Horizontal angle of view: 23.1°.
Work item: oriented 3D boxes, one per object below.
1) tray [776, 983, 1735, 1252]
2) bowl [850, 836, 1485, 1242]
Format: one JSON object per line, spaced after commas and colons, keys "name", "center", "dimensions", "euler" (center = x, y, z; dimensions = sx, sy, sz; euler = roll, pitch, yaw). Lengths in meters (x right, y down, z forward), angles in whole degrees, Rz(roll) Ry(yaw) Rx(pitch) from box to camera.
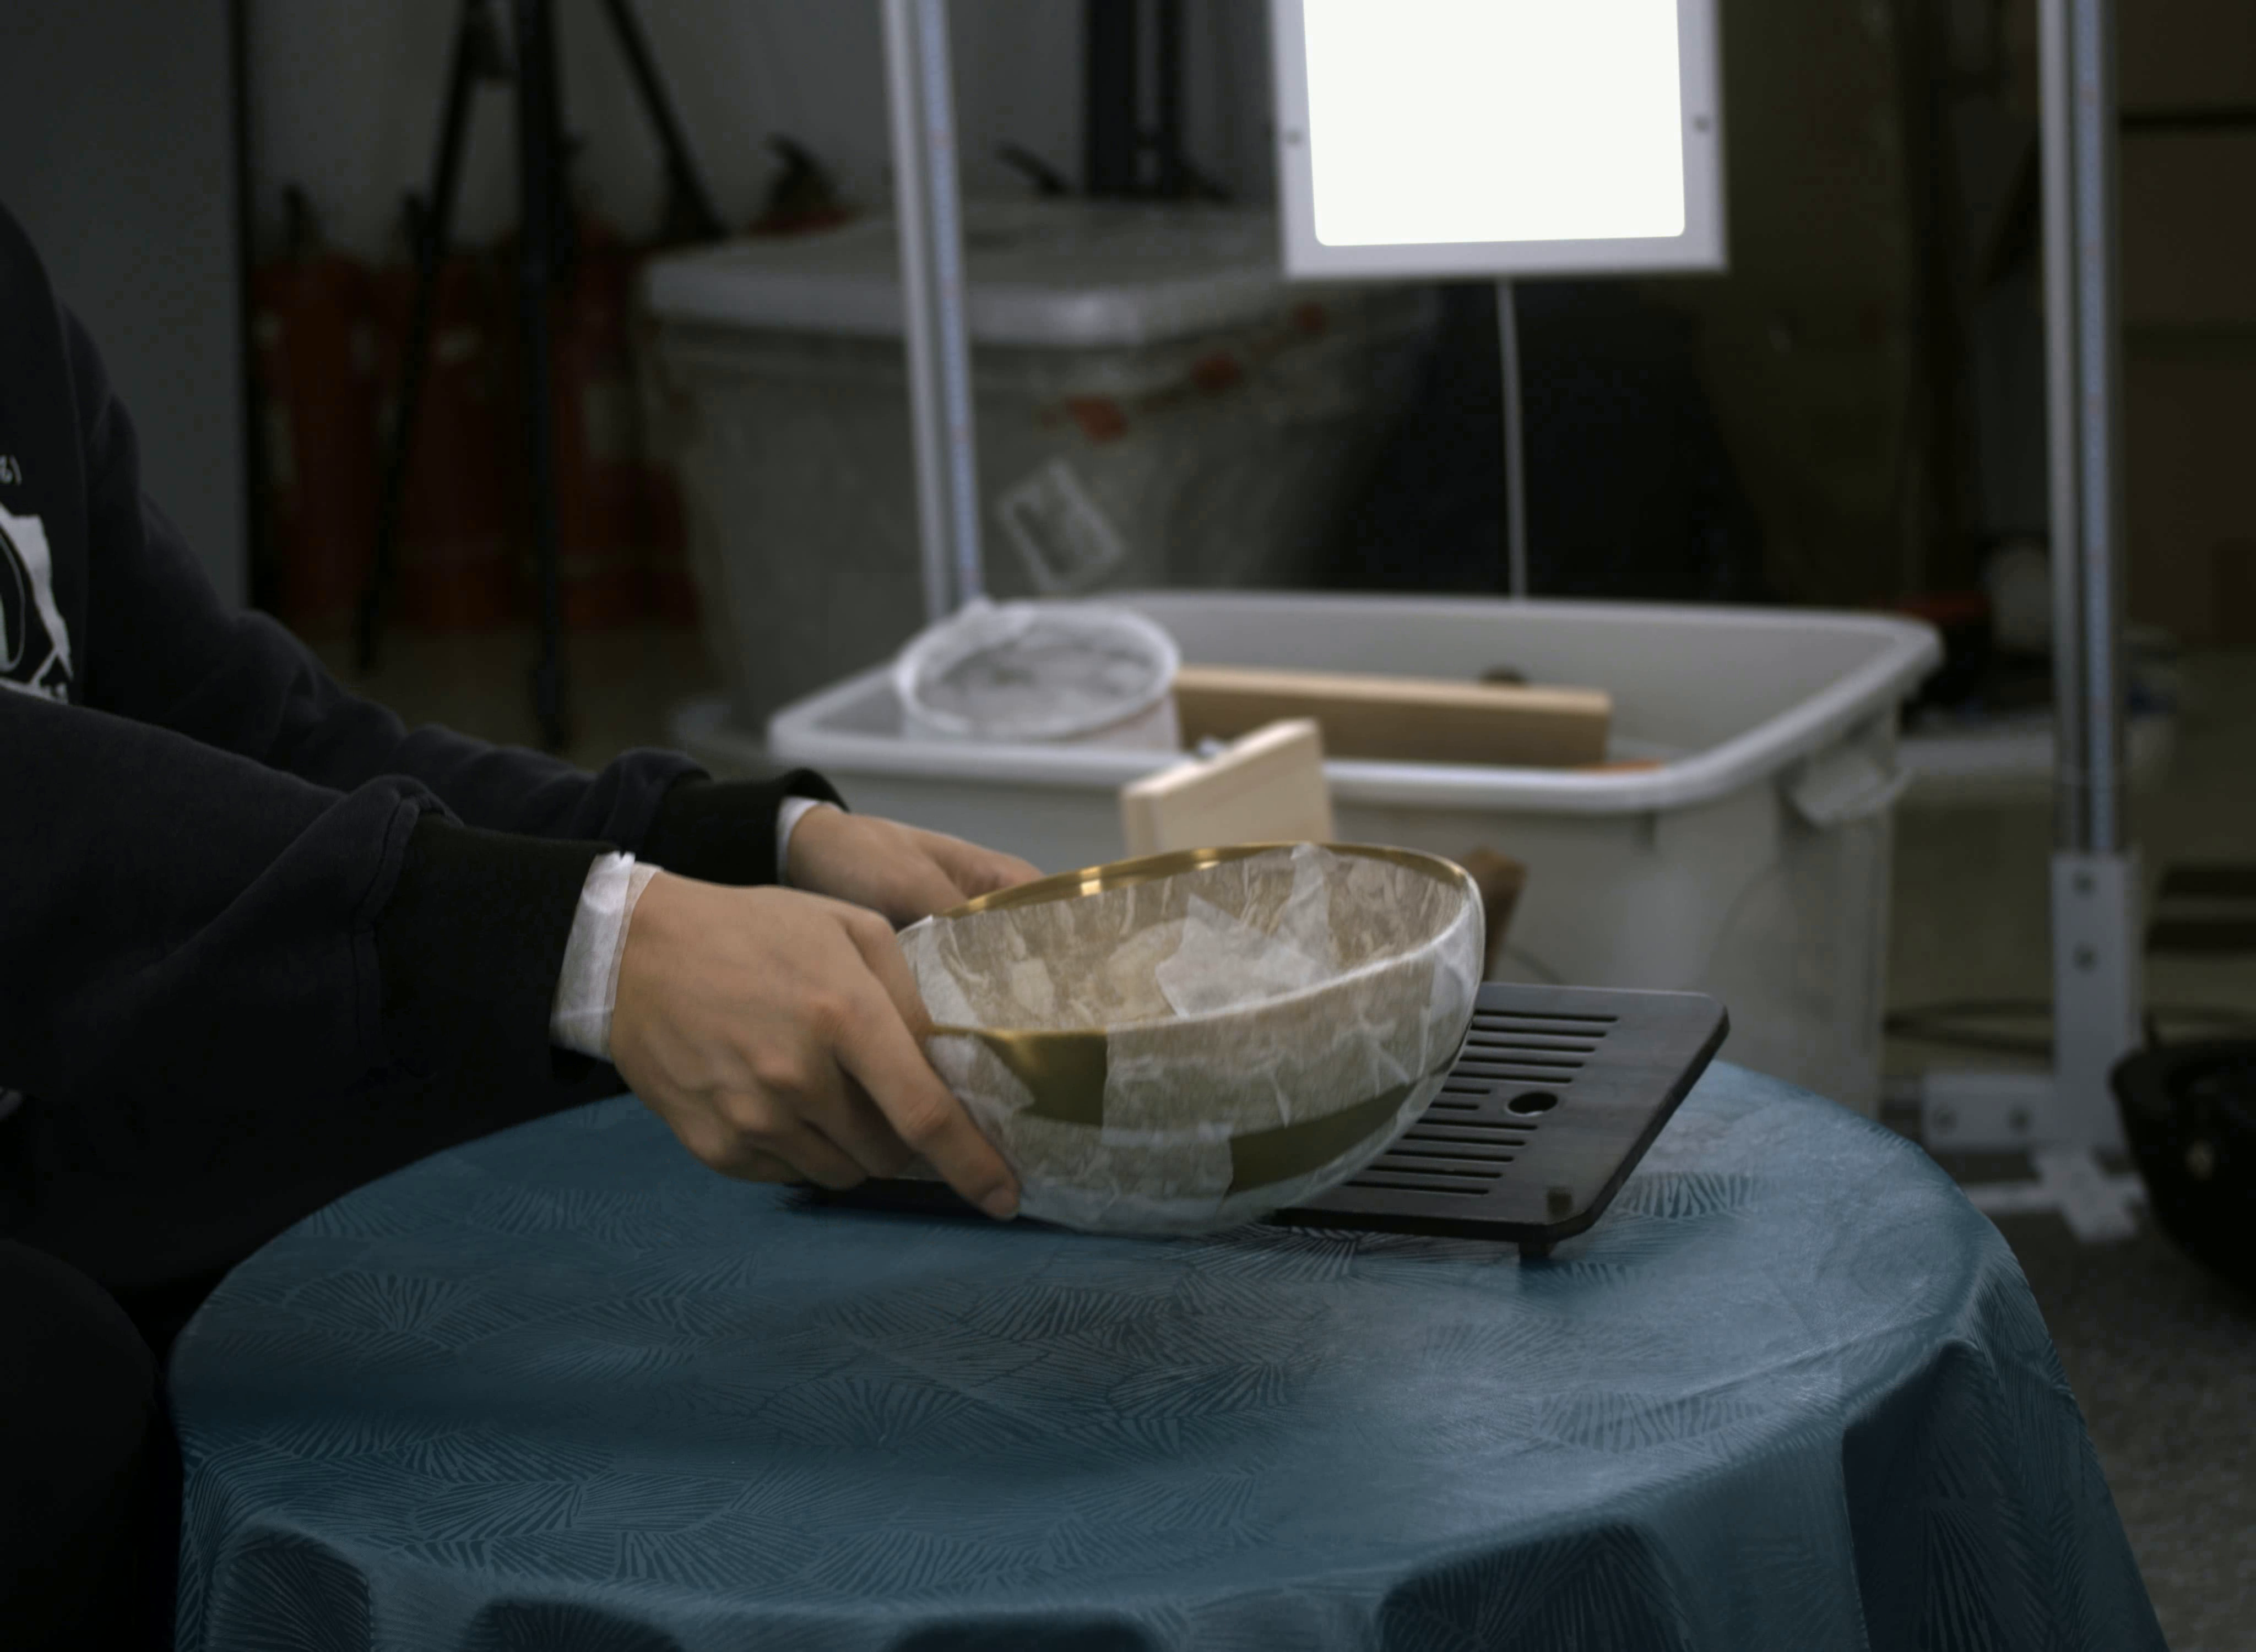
{"name": "tray", "center": [0.045, 0.095, 1.915], "dimensions": [0.311, 0.018, 0.167], "euler": [2, 26, 27]}
{"name": "bowl", "center": [0.017, 0.075, 1.746], "dimensions": [0.214, 0.095, 0.214], "euler": [-9, 15, 1]}
